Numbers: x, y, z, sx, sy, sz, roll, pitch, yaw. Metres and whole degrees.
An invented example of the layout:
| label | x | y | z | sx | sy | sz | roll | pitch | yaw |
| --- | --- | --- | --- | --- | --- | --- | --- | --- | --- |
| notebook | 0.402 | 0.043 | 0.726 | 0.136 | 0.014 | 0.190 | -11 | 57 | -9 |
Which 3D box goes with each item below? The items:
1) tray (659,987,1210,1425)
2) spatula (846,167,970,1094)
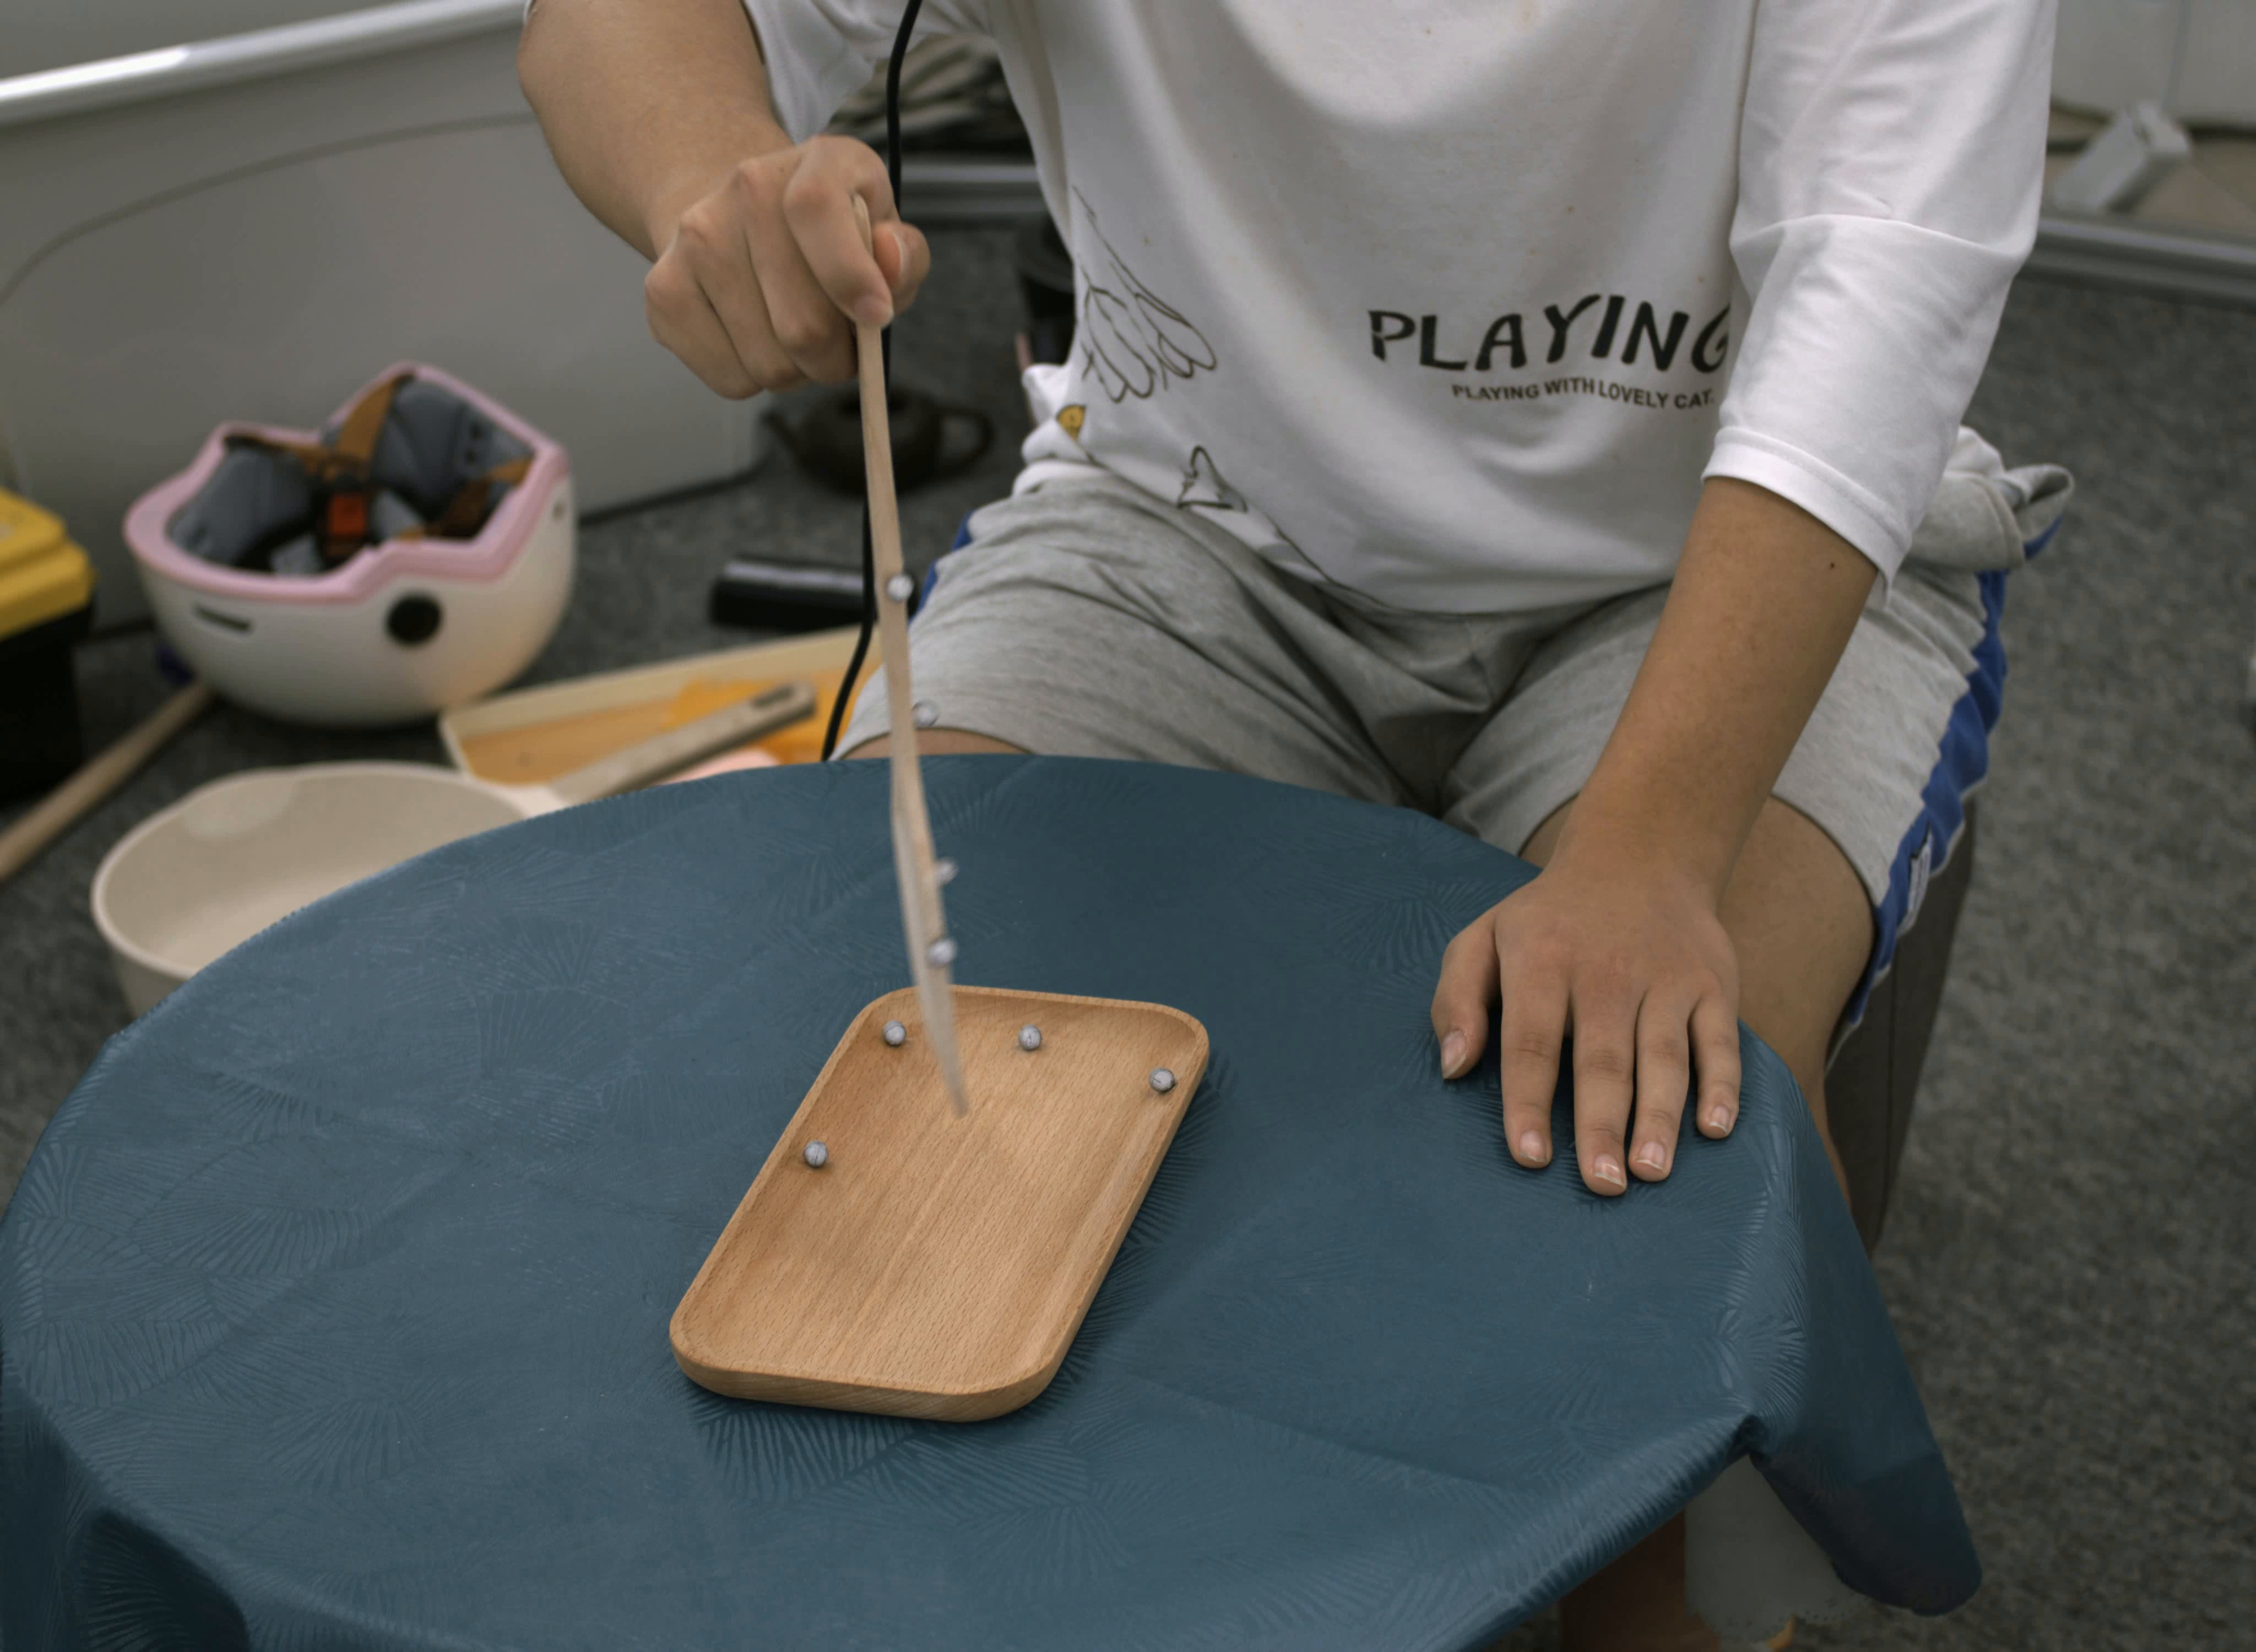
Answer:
| label | x | y | z | sx | sy | sz | roll | pitch | yaw |
| --- | --- | --- | --- | --- | --- | --- | --- | --- | --- |
| tray | -0.060 | 0.122 | 1.851 | 0.129 | 0.022 | 0.255 | 3 | 28 | 16 |
| spatula | -0.070 | -0.060 | 1.752 | 0.010 | 0.291 | 0.073 | -7 | 18 | -7 |
